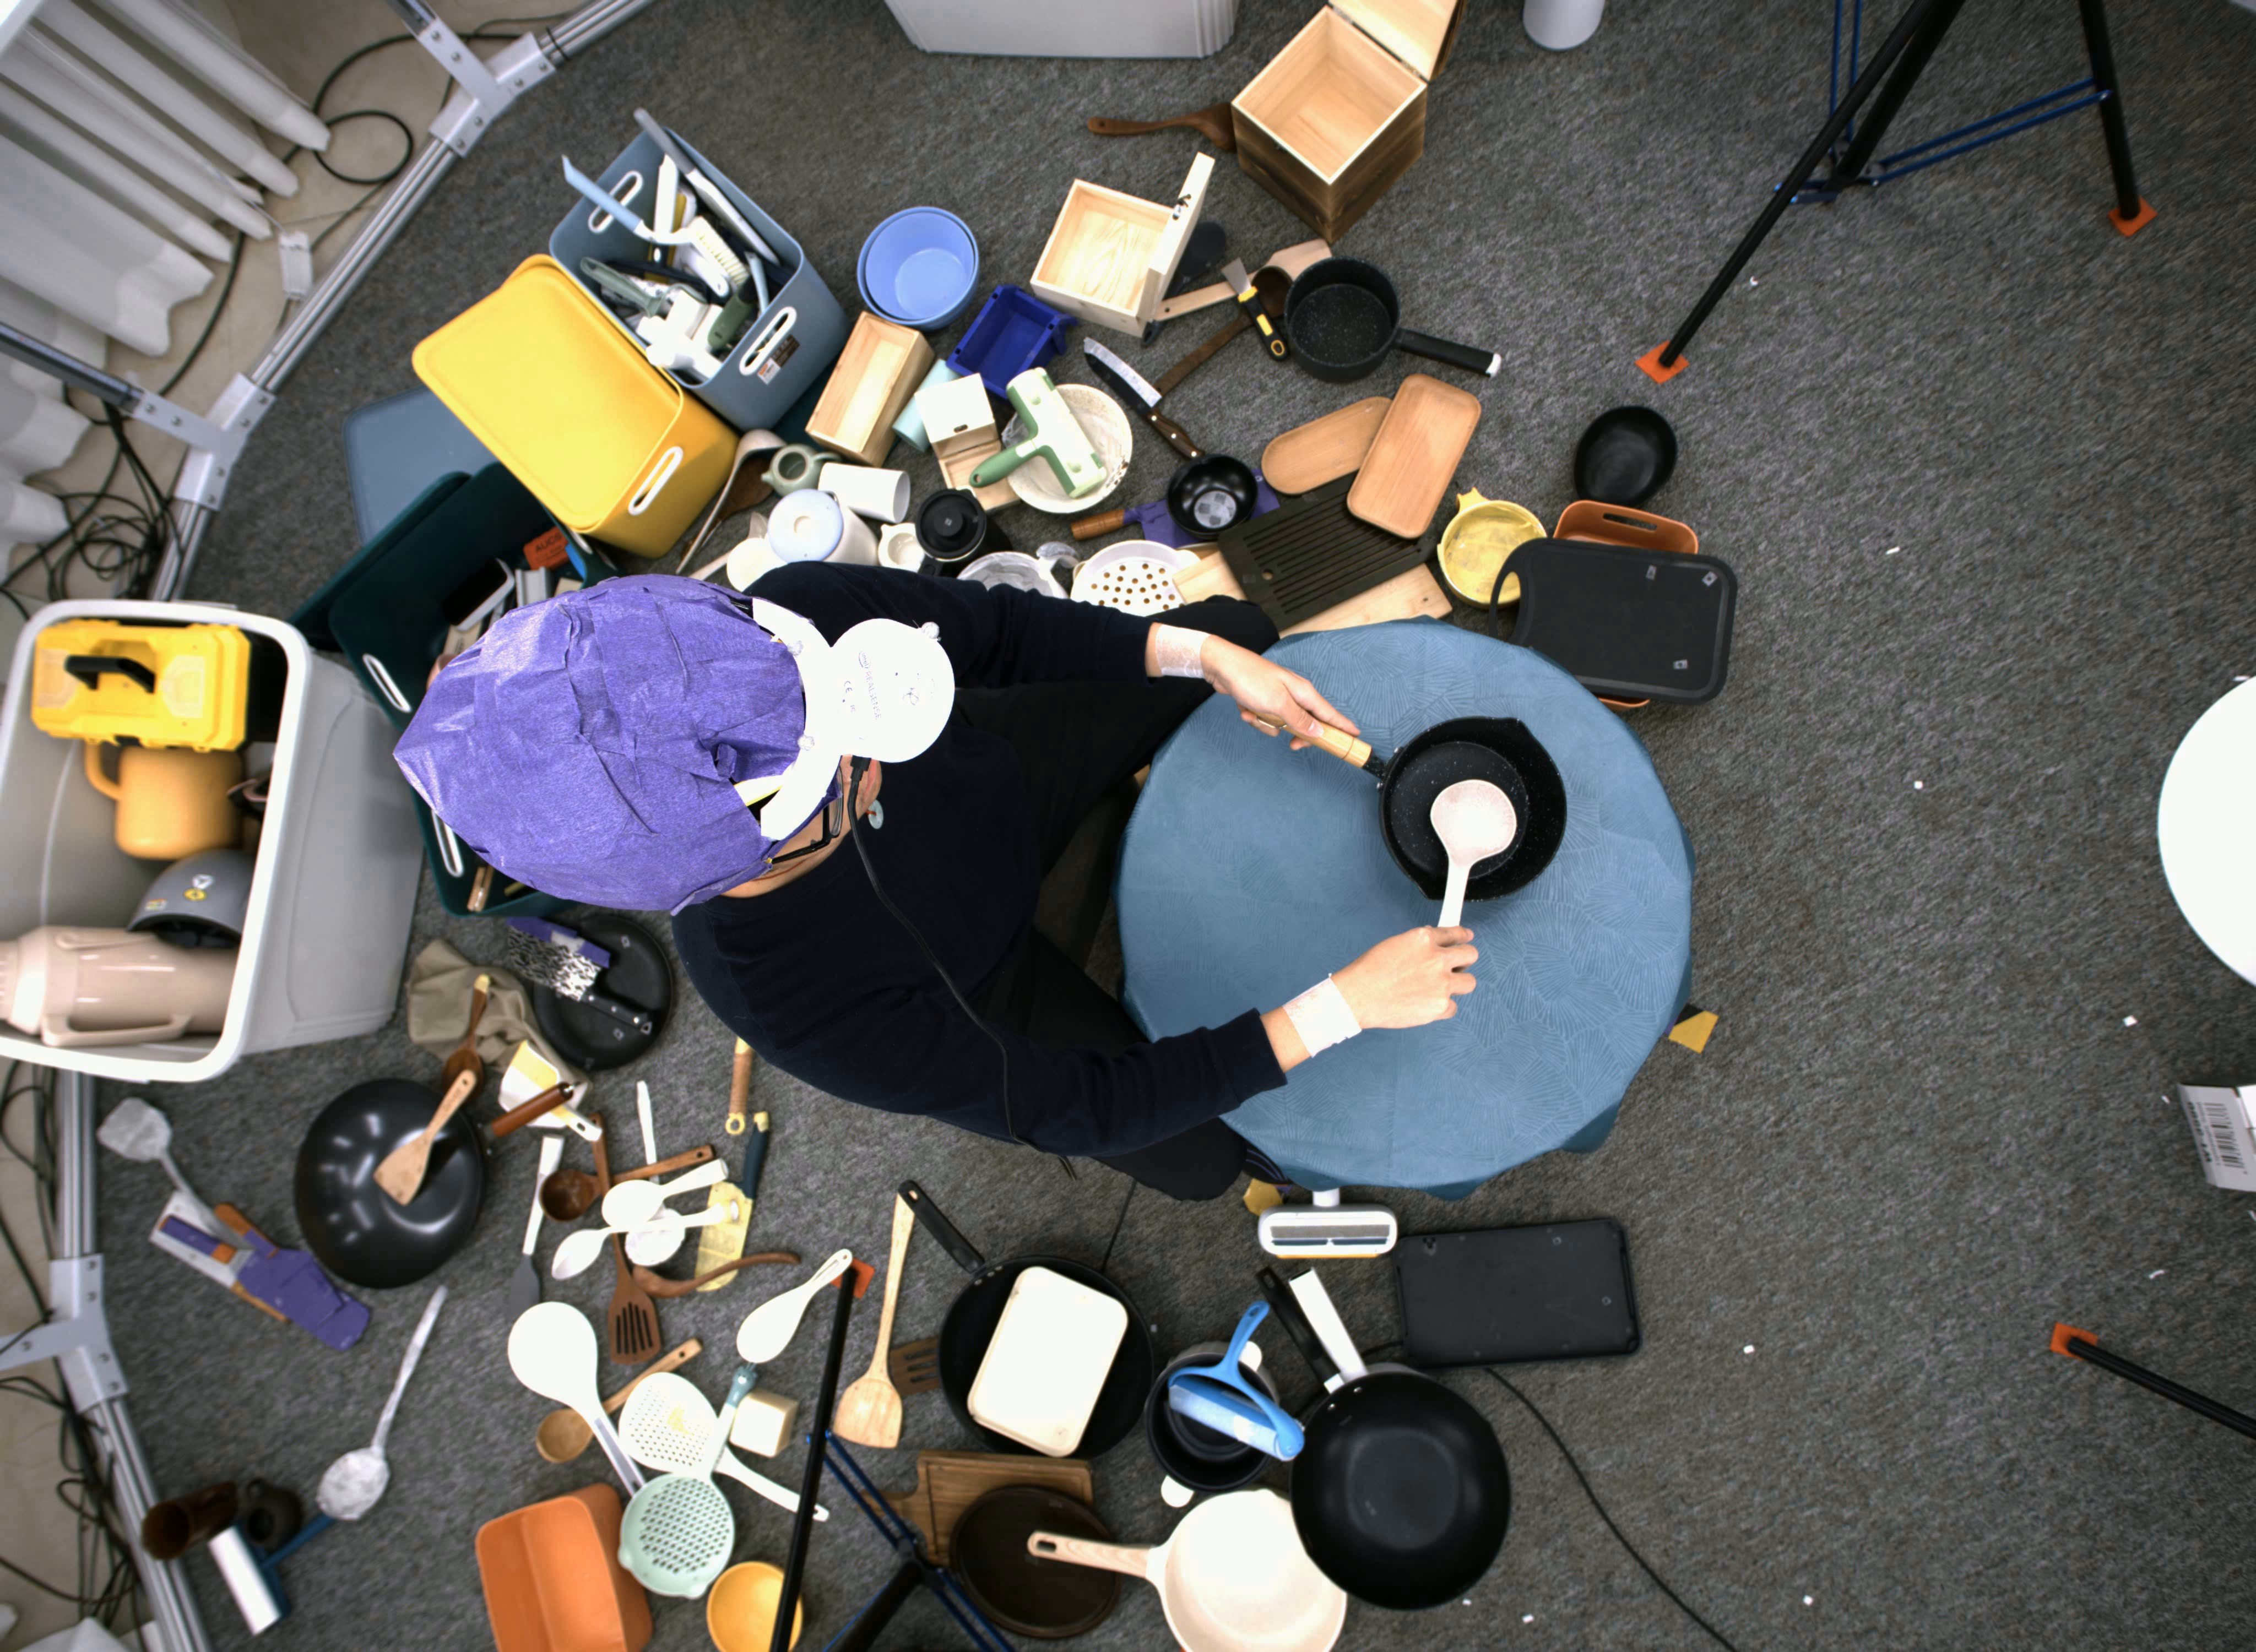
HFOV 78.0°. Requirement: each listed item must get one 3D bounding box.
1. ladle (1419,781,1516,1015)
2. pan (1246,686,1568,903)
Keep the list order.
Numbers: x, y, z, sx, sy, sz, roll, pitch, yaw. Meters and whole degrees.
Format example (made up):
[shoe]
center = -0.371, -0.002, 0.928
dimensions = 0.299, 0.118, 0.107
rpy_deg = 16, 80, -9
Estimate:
[ladle]
center = 0.323, 0.062, 1.335
dimensions = 0.089, 0.267, 0.071
rpy_deg = 27, 136, -3
[pan]
center = 0.272, -0.052, 1.391
dimensions = 0.343, 0.108, 0.208
rpy_deg = 25, 94, 1
